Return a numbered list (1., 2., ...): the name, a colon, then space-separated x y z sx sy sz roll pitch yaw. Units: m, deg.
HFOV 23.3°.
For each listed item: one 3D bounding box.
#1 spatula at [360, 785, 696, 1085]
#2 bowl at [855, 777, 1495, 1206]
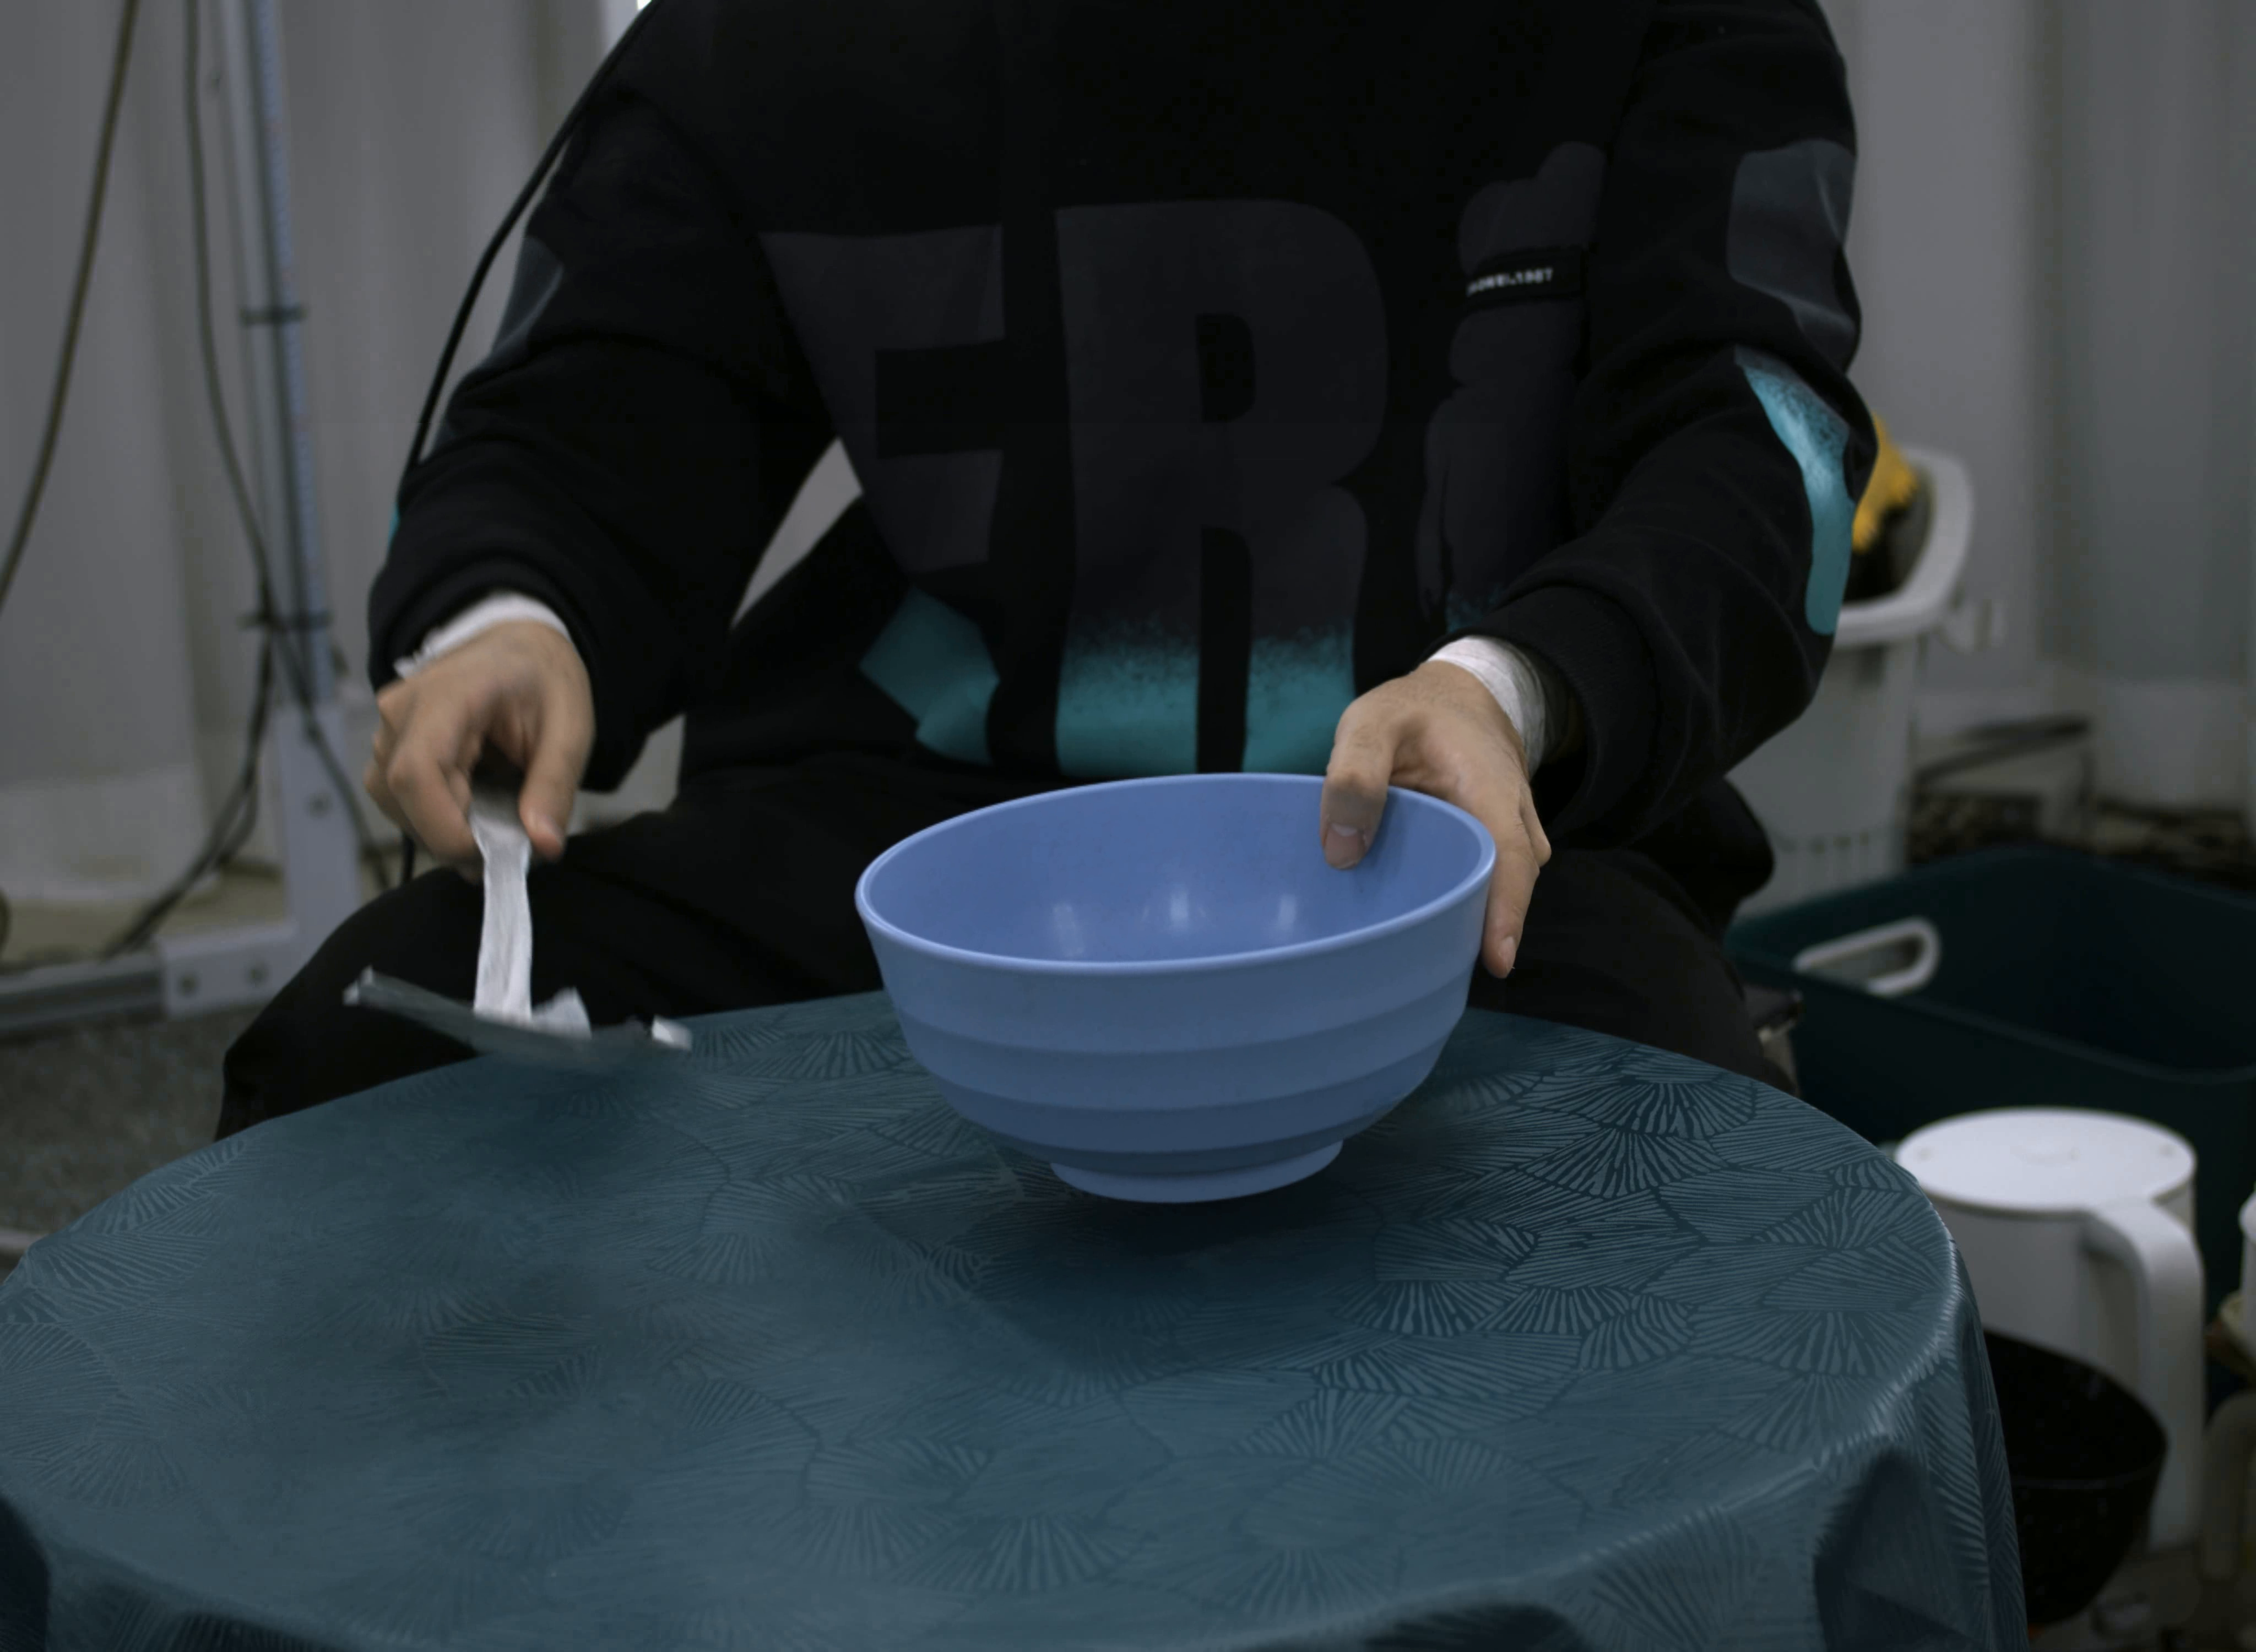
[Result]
1. spatula: -0.190 0.024 1.724 0.098 0.044 0.368 11 16 -9
2. bowl: 0.018 0.056 1.680 0.196 0.095 0.198 -5 16 1
